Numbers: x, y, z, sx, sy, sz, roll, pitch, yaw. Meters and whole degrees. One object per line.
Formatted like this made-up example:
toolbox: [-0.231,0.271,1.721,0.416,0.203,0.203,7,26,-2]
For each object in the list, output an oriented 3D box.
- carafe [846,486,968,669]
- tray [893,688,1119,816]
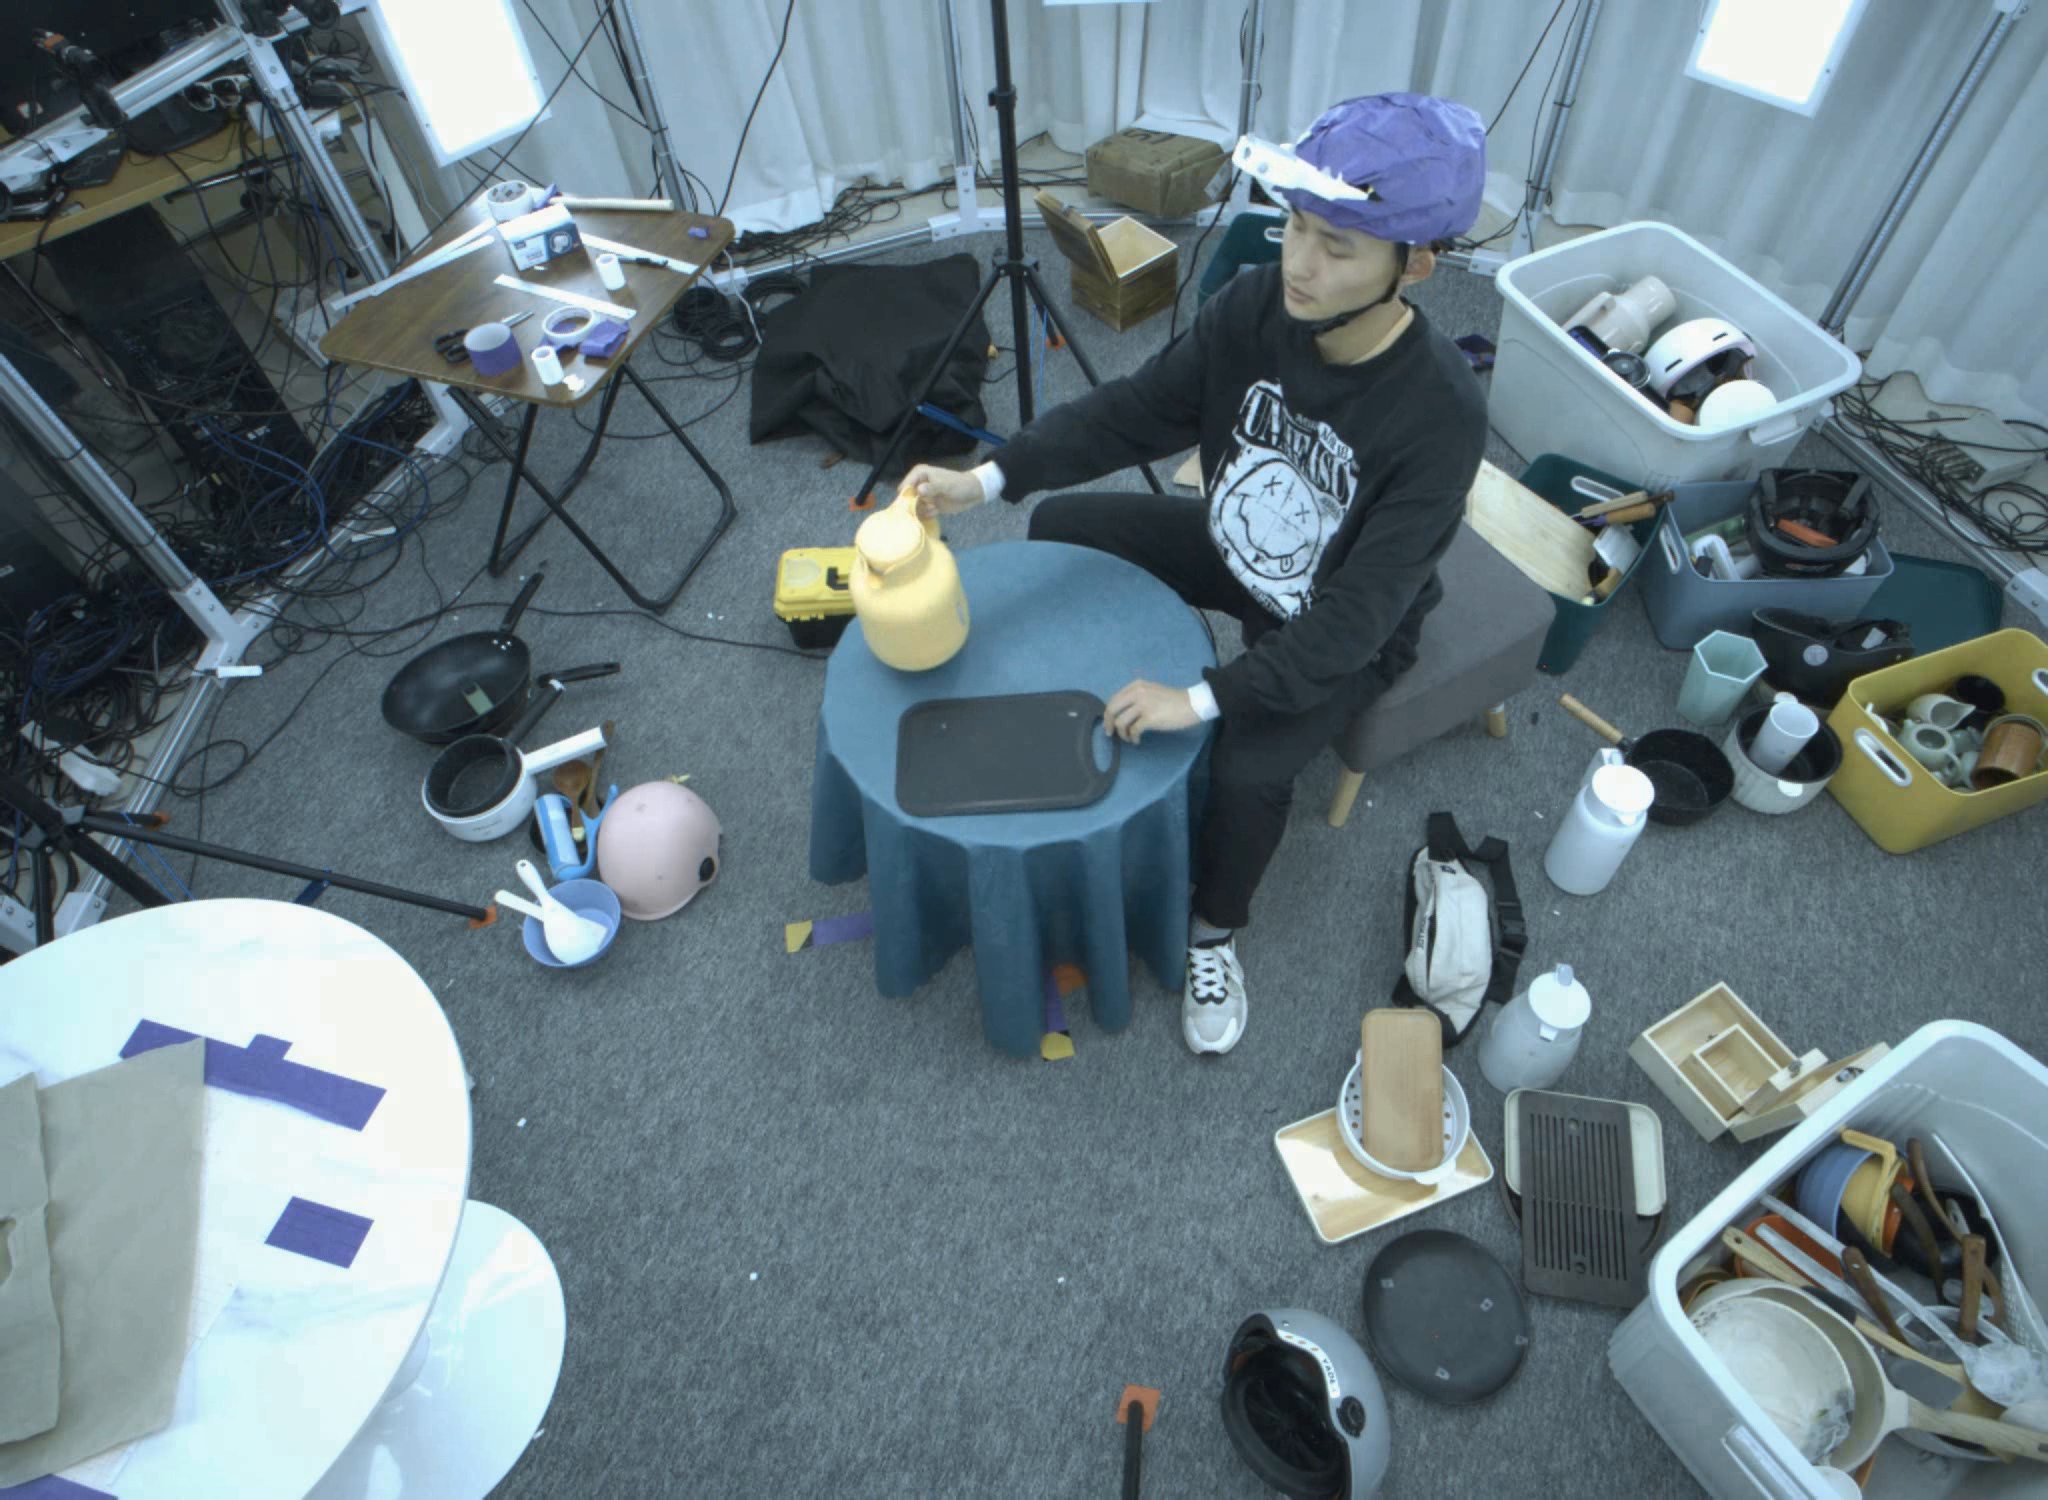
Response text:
carafe: [-0.168,-0.255,1.776,0.162,0.263,0.202,15,67,10]
tray: [-0.026,-0.002,1.775,0.325,0.010,0.209,-4,55,2]
